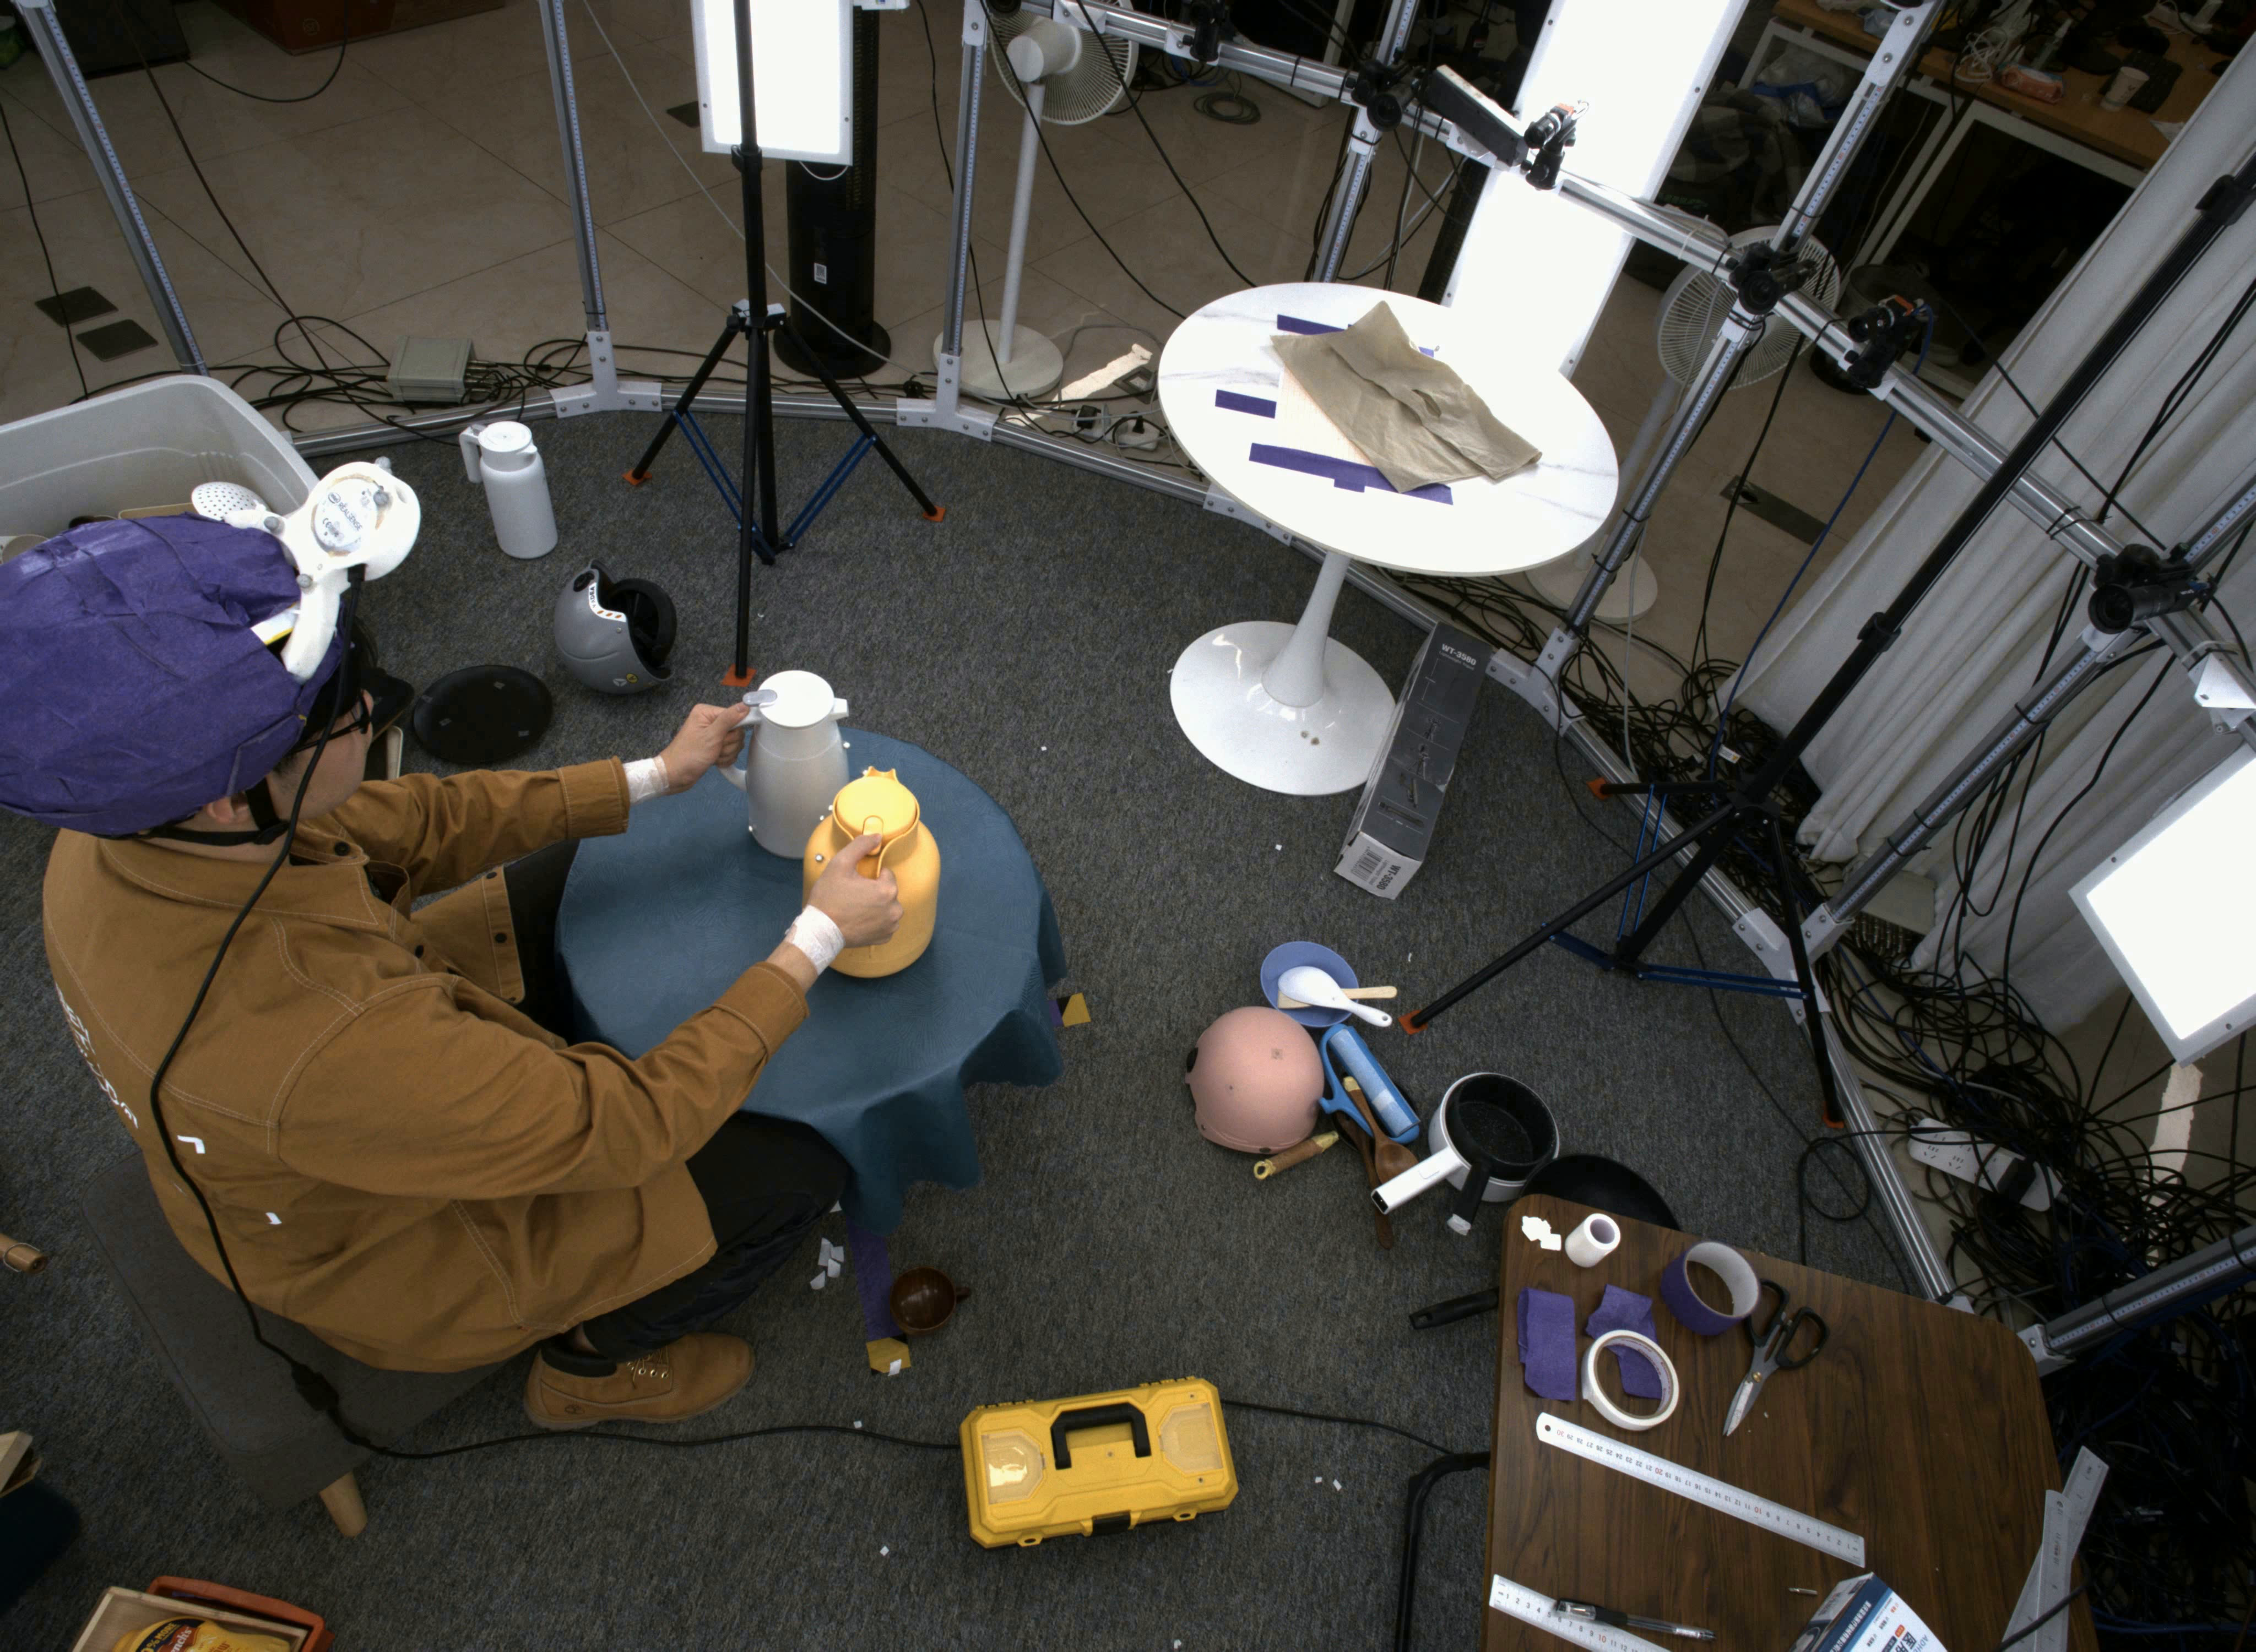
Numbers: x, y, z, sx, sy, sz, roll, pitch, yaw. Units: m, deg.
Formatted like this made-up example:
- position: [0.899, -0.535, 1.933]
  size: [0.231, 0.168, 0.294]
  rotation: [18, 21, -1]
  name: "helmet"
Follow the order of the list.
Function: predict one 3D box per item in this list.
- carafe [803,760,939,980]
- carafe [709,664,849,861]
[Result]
- position: [-0.307, 0.065, 1.530]
  size: [0.163, 0.267, 0.198]
  rotation: [6, 47, -7]
  name: "carafe"
- position: [-0.435, -0.084, 1.620]
  size: [0.168, 0.254, 0.129]
  rotation: [-4, 53, -14]
  name: "carafe"
